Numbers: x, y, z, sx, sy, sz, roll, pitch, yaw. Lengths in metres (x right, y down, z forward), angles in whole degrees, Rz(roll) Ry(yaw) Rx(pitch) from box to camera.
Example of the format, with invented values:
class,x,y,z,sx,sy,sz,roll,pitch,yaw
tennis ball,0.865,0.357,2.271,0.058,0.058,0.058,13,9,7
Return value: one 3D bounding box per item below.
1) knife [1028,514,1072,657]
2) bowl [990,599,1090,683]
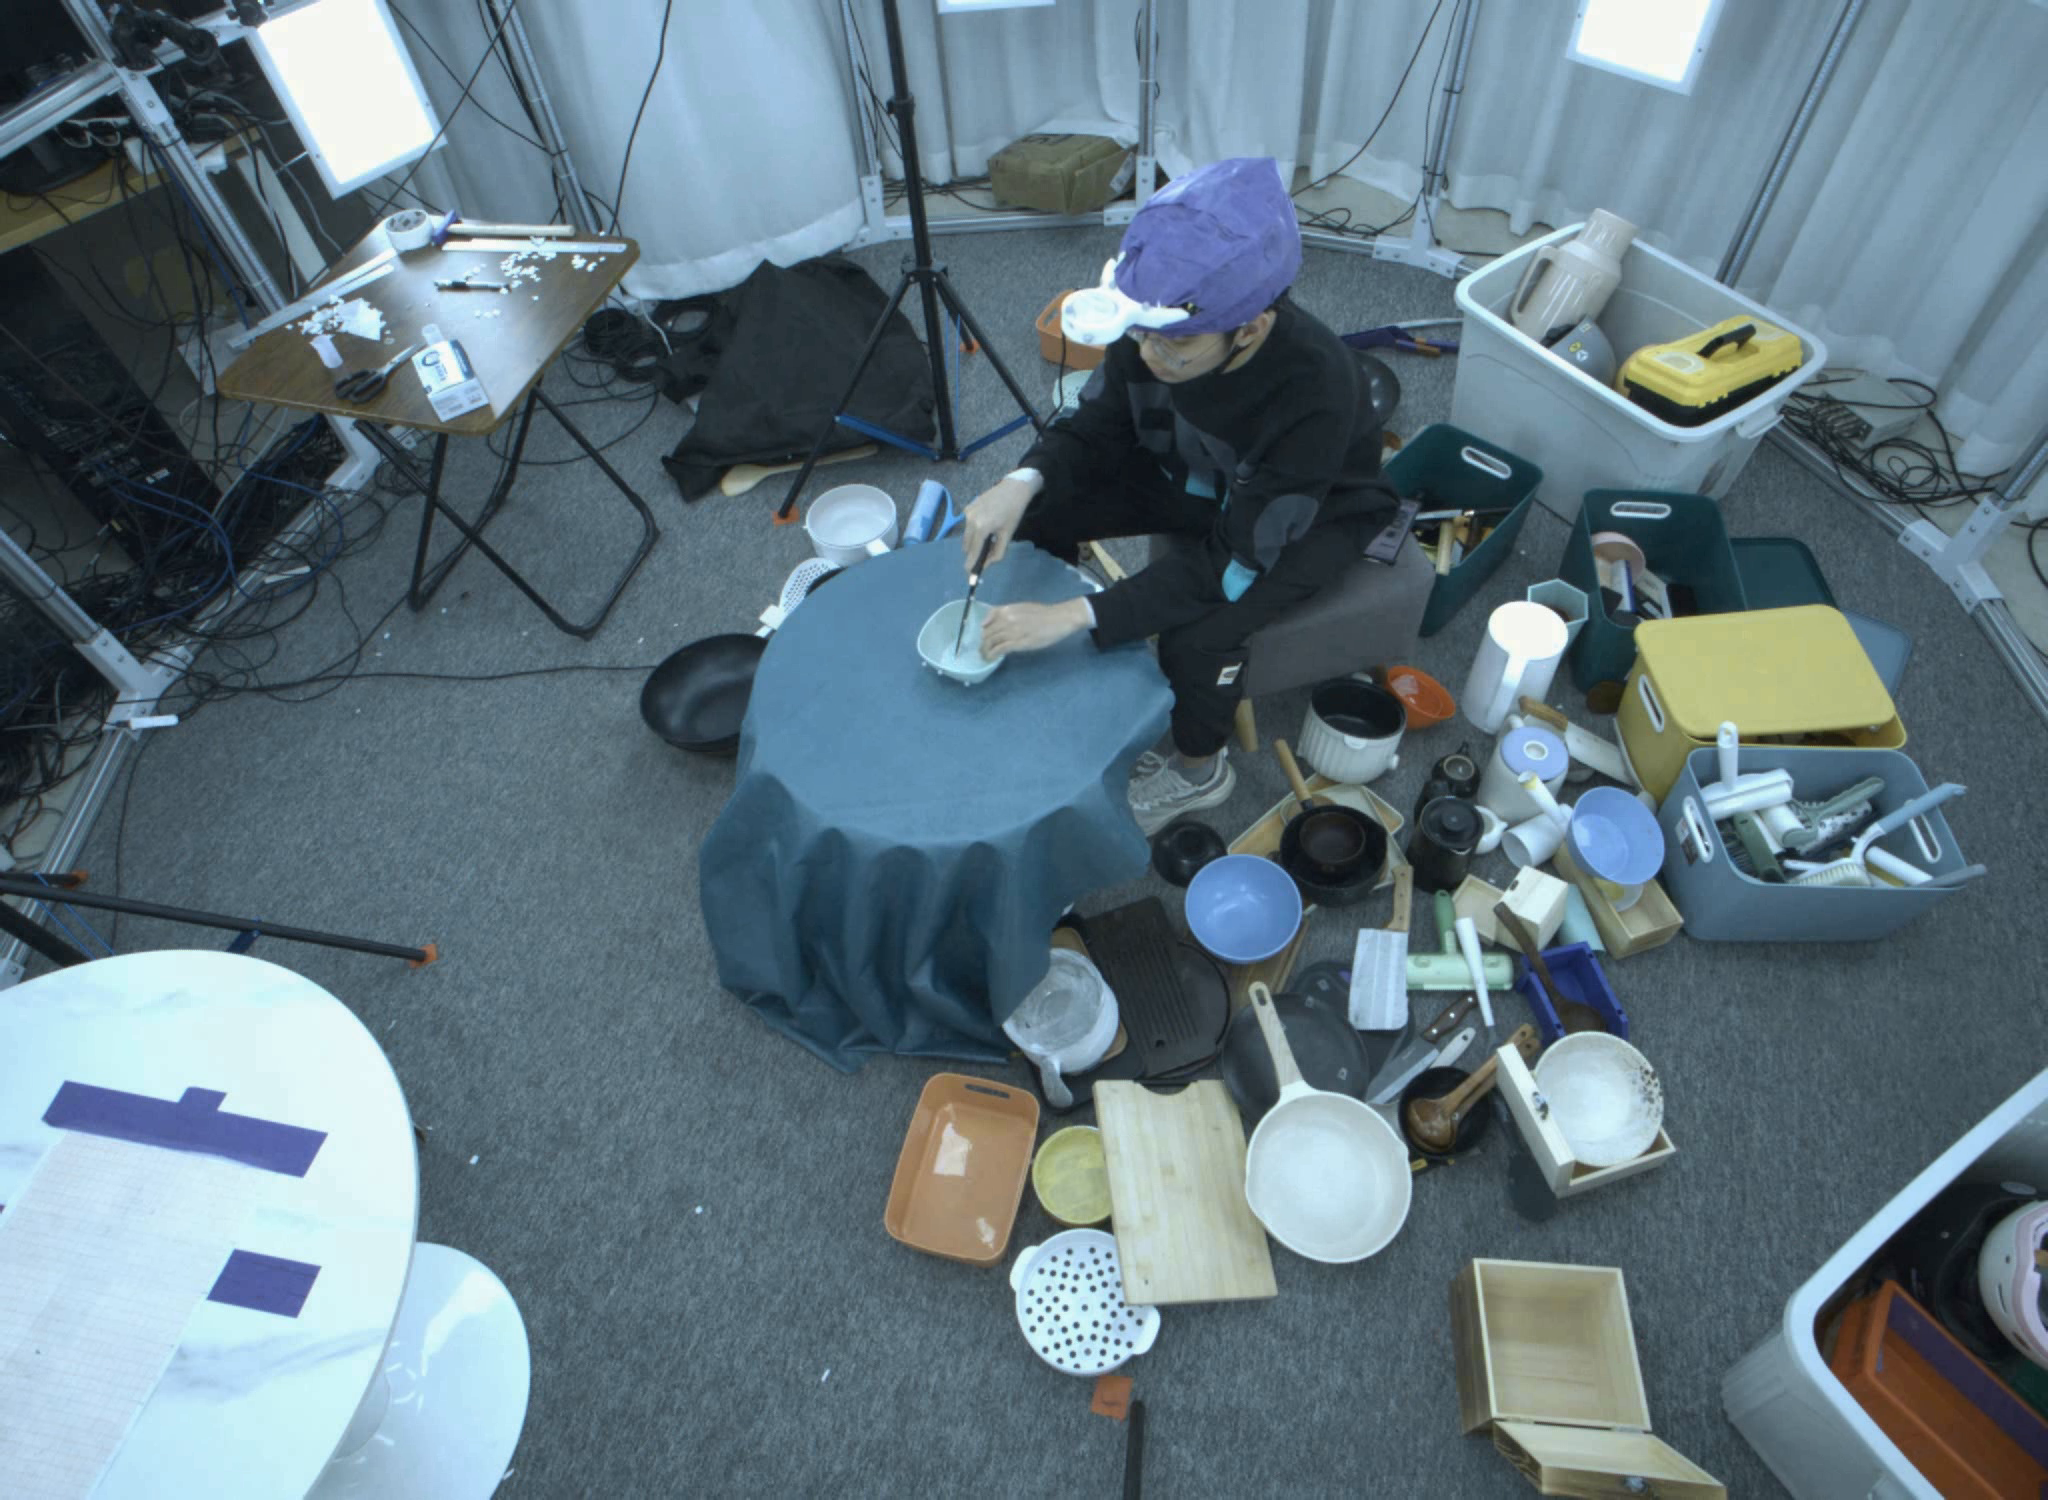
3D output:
class,x,y,z,sx,sy,sz,roll,pitch,yaw
knife,0.036,-0.249,1.864,0.017,0.026,0.226,17,100,6
bowl,0.026,-0.155,1.862,0.151,0.059,0.150,-1,54,3
